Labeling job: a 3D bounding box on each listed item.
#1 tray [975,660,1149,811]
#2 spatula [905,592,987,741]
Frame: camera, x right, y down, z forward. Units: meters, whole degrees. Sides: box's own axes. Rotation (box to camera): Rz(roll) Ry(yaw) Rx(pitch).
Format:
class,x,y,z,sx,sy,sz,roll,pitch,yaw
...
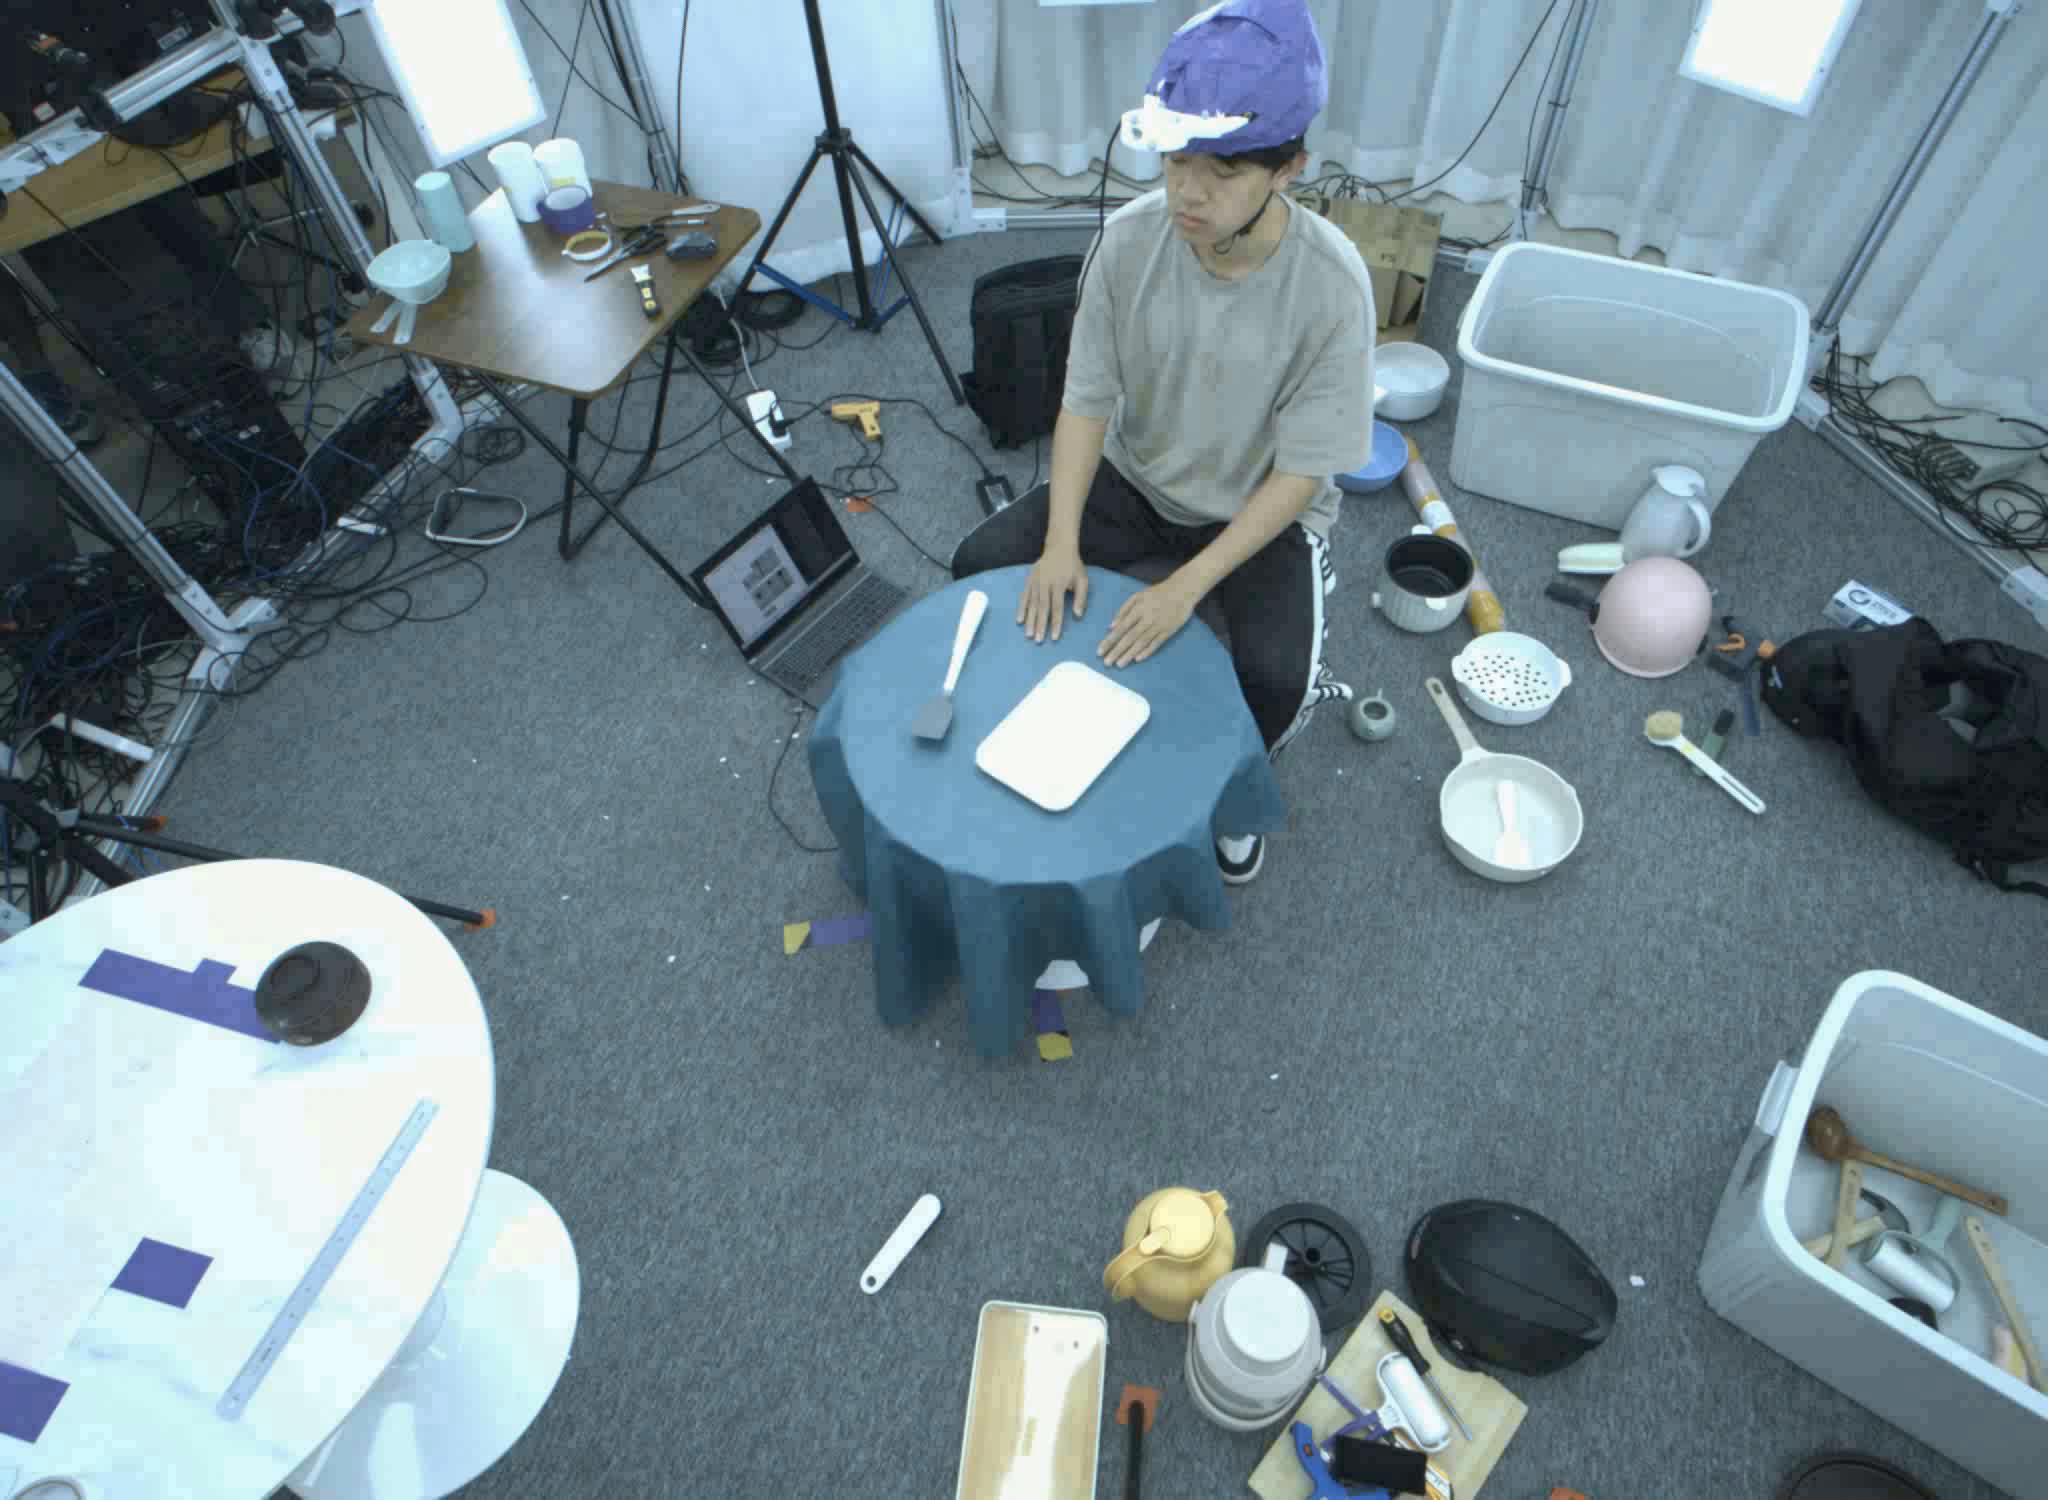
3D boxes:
class,x,y,z,sx,sy,sz,roll,pitch,yaw
tray,0.057,-0.022,1.788,0.168,0.017,0.241,32,62,21
spatula,-0.110,-0.125,1.856,0.058,0.032,0.286,13,57,7
